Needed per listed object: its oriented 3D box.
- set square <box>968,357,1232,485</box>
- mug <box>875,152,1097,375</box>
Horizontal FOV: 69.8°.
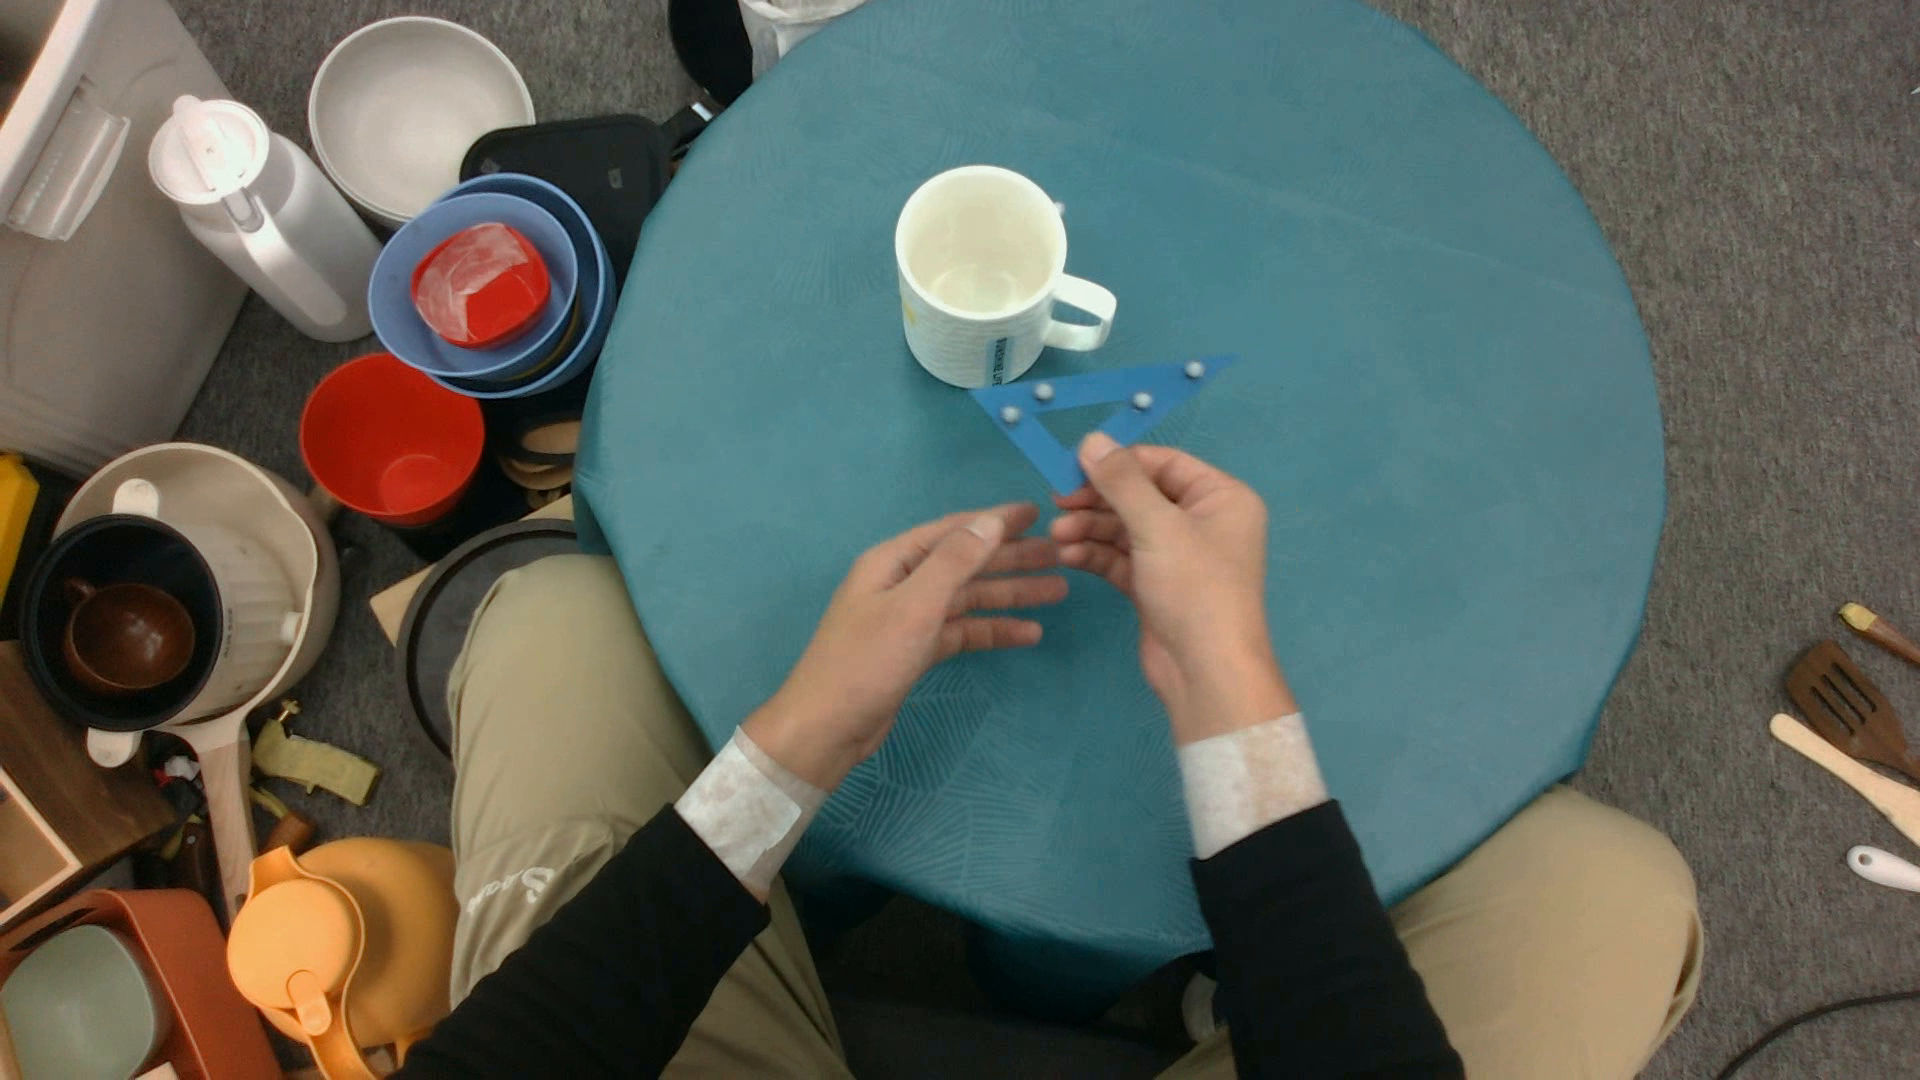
[{"bbox_3d":[0.072,-0.058,0.658,0.132,0.006,0.061,-5,72,-11],"label":"set square"},{"bbox_3d":[0.014,-0.139,0.737,0.118,0.101,0.085,20,75,4],"label":"mug"}]
